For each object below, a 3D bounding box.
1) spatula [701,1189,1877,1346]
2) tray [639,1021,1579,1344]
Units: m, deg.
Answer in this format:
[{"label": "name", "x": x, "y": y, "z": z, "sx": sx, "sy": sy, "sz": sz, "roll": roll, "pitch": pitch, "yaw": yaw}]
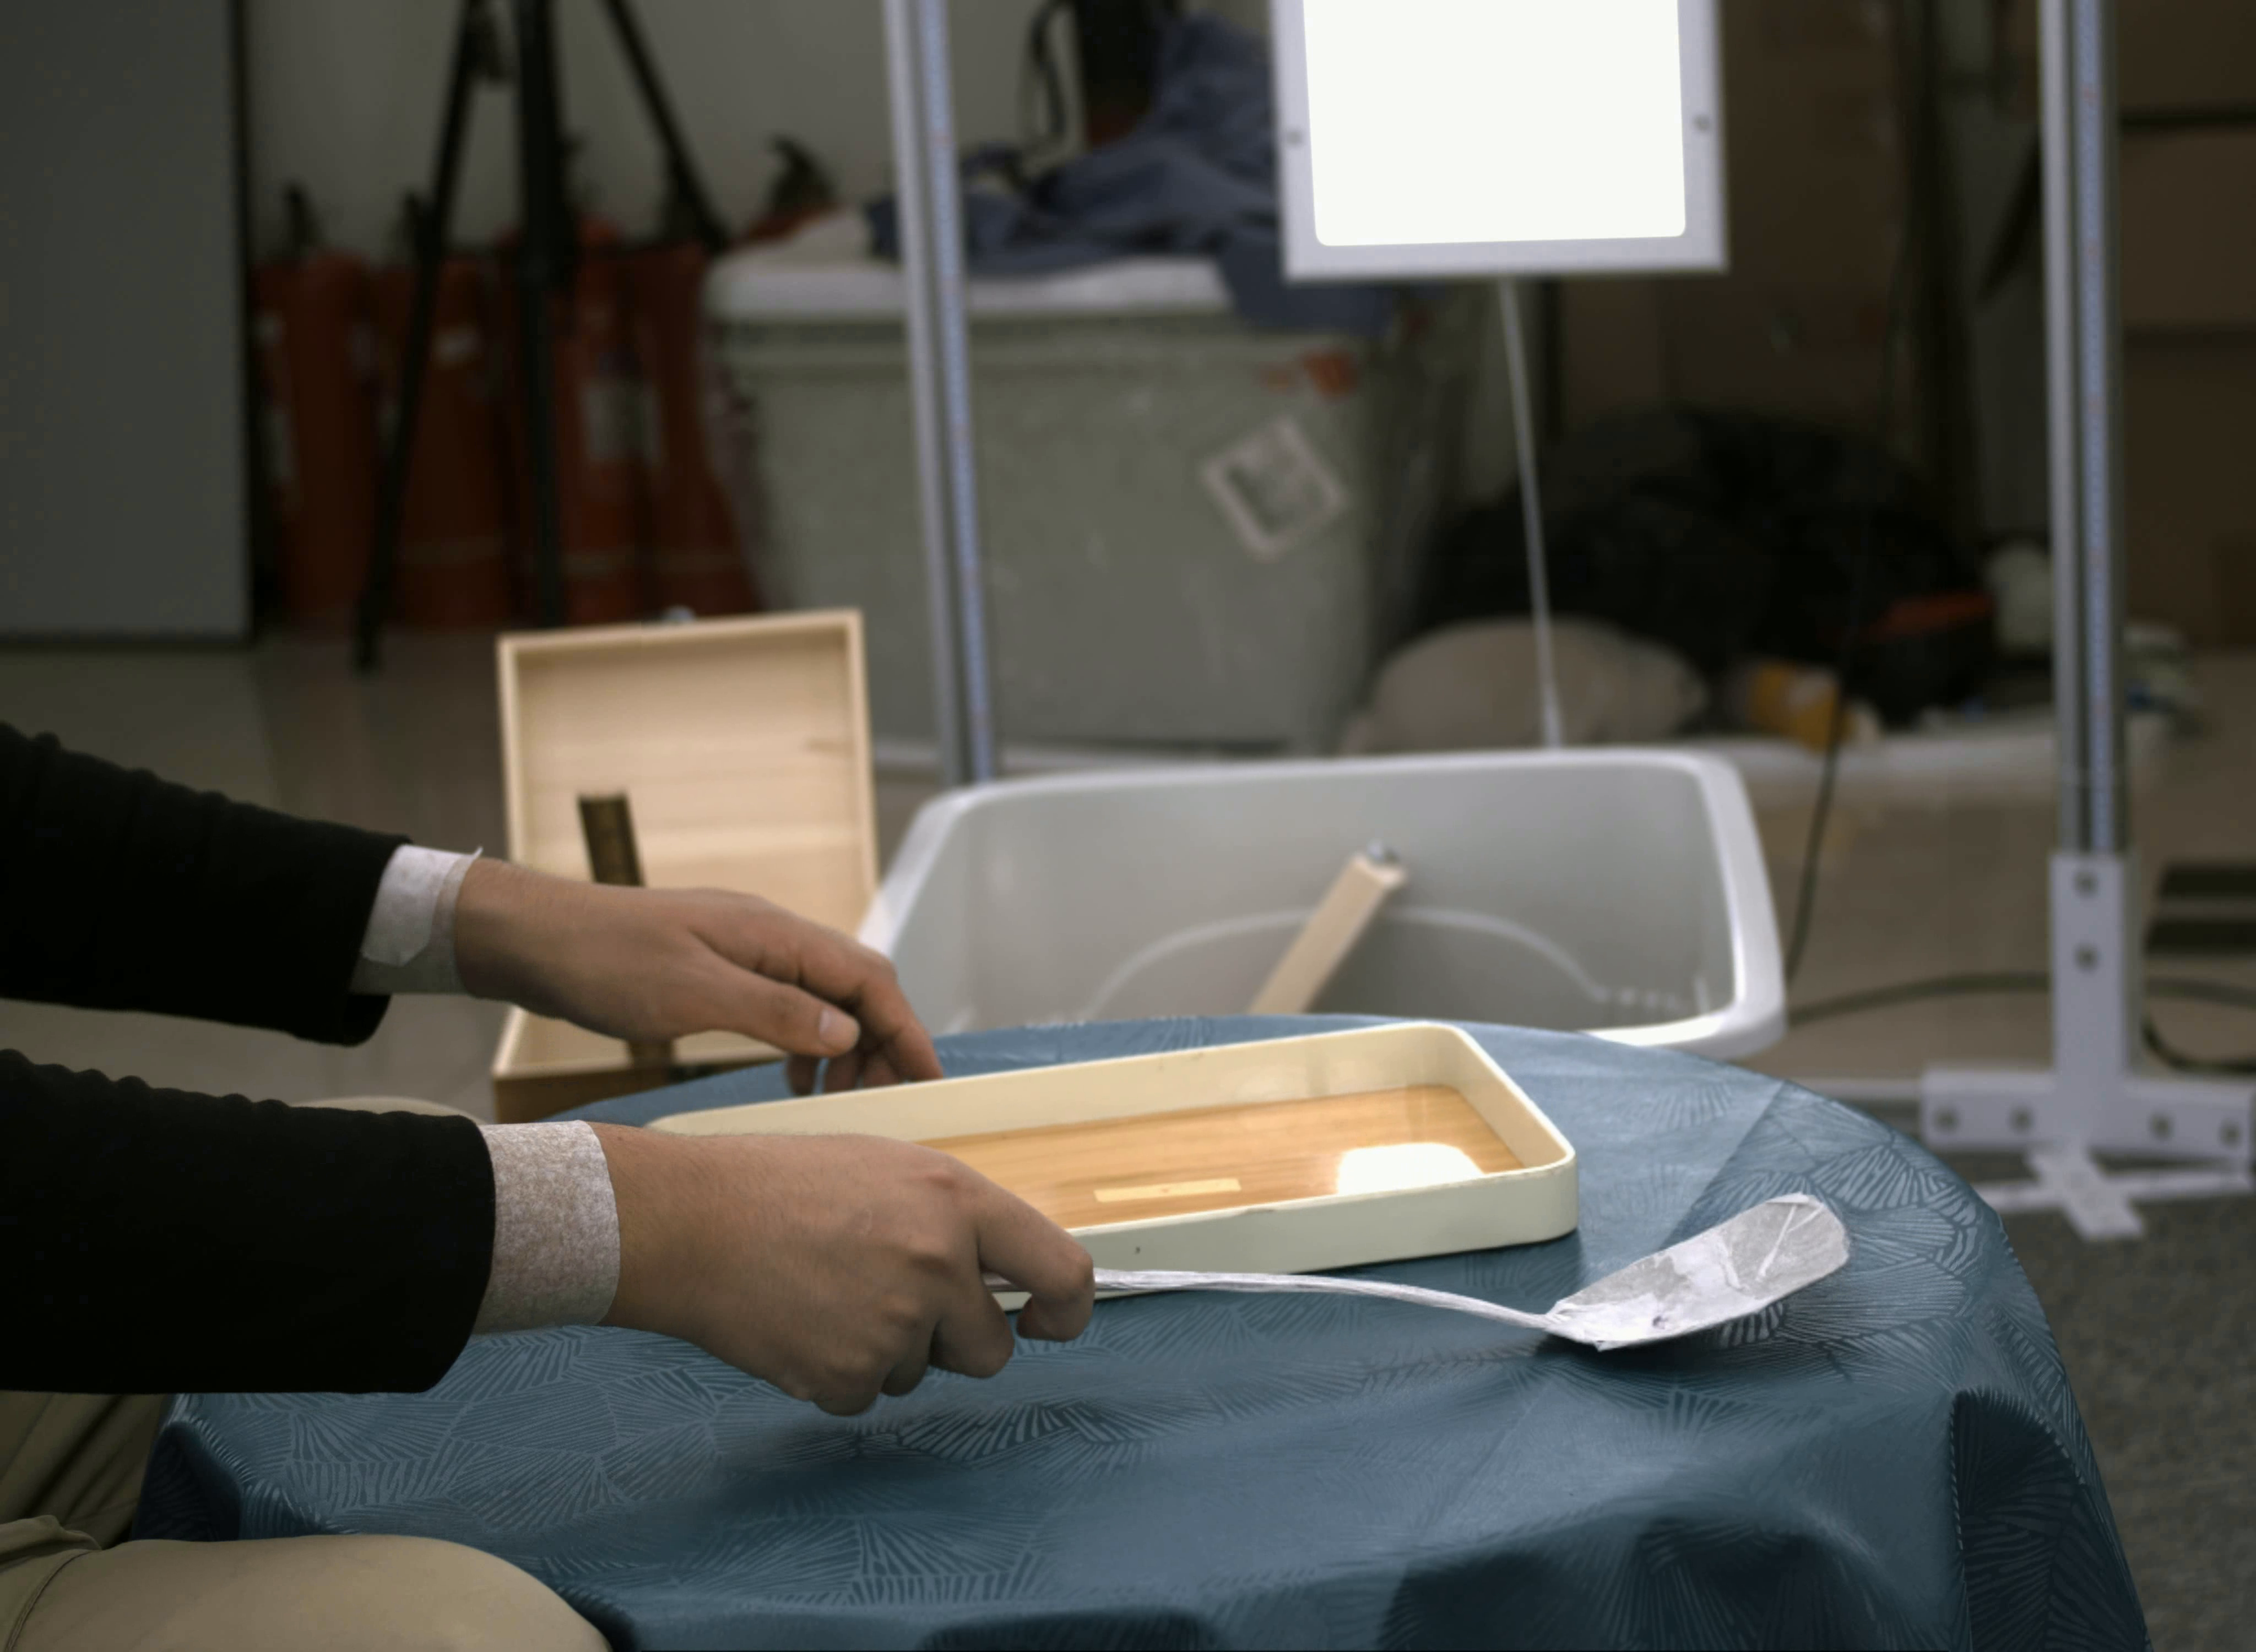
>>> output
[{"label": "spatula", "x": 0.051, "y": 0.137, "z": 1.697, "sx": 0.362, "sy": 0.045, "sz": 0.099, "roll": 2, "pitch": 8, "yaw": -6}, {"label": "tray", "x": -0.010, "y": 0.119, "z": 1.876, "sx": 0.298, "sy": 0.027, "sz": 0.192, "roll": -7, "pitch": 14, "yaw": -7}]
